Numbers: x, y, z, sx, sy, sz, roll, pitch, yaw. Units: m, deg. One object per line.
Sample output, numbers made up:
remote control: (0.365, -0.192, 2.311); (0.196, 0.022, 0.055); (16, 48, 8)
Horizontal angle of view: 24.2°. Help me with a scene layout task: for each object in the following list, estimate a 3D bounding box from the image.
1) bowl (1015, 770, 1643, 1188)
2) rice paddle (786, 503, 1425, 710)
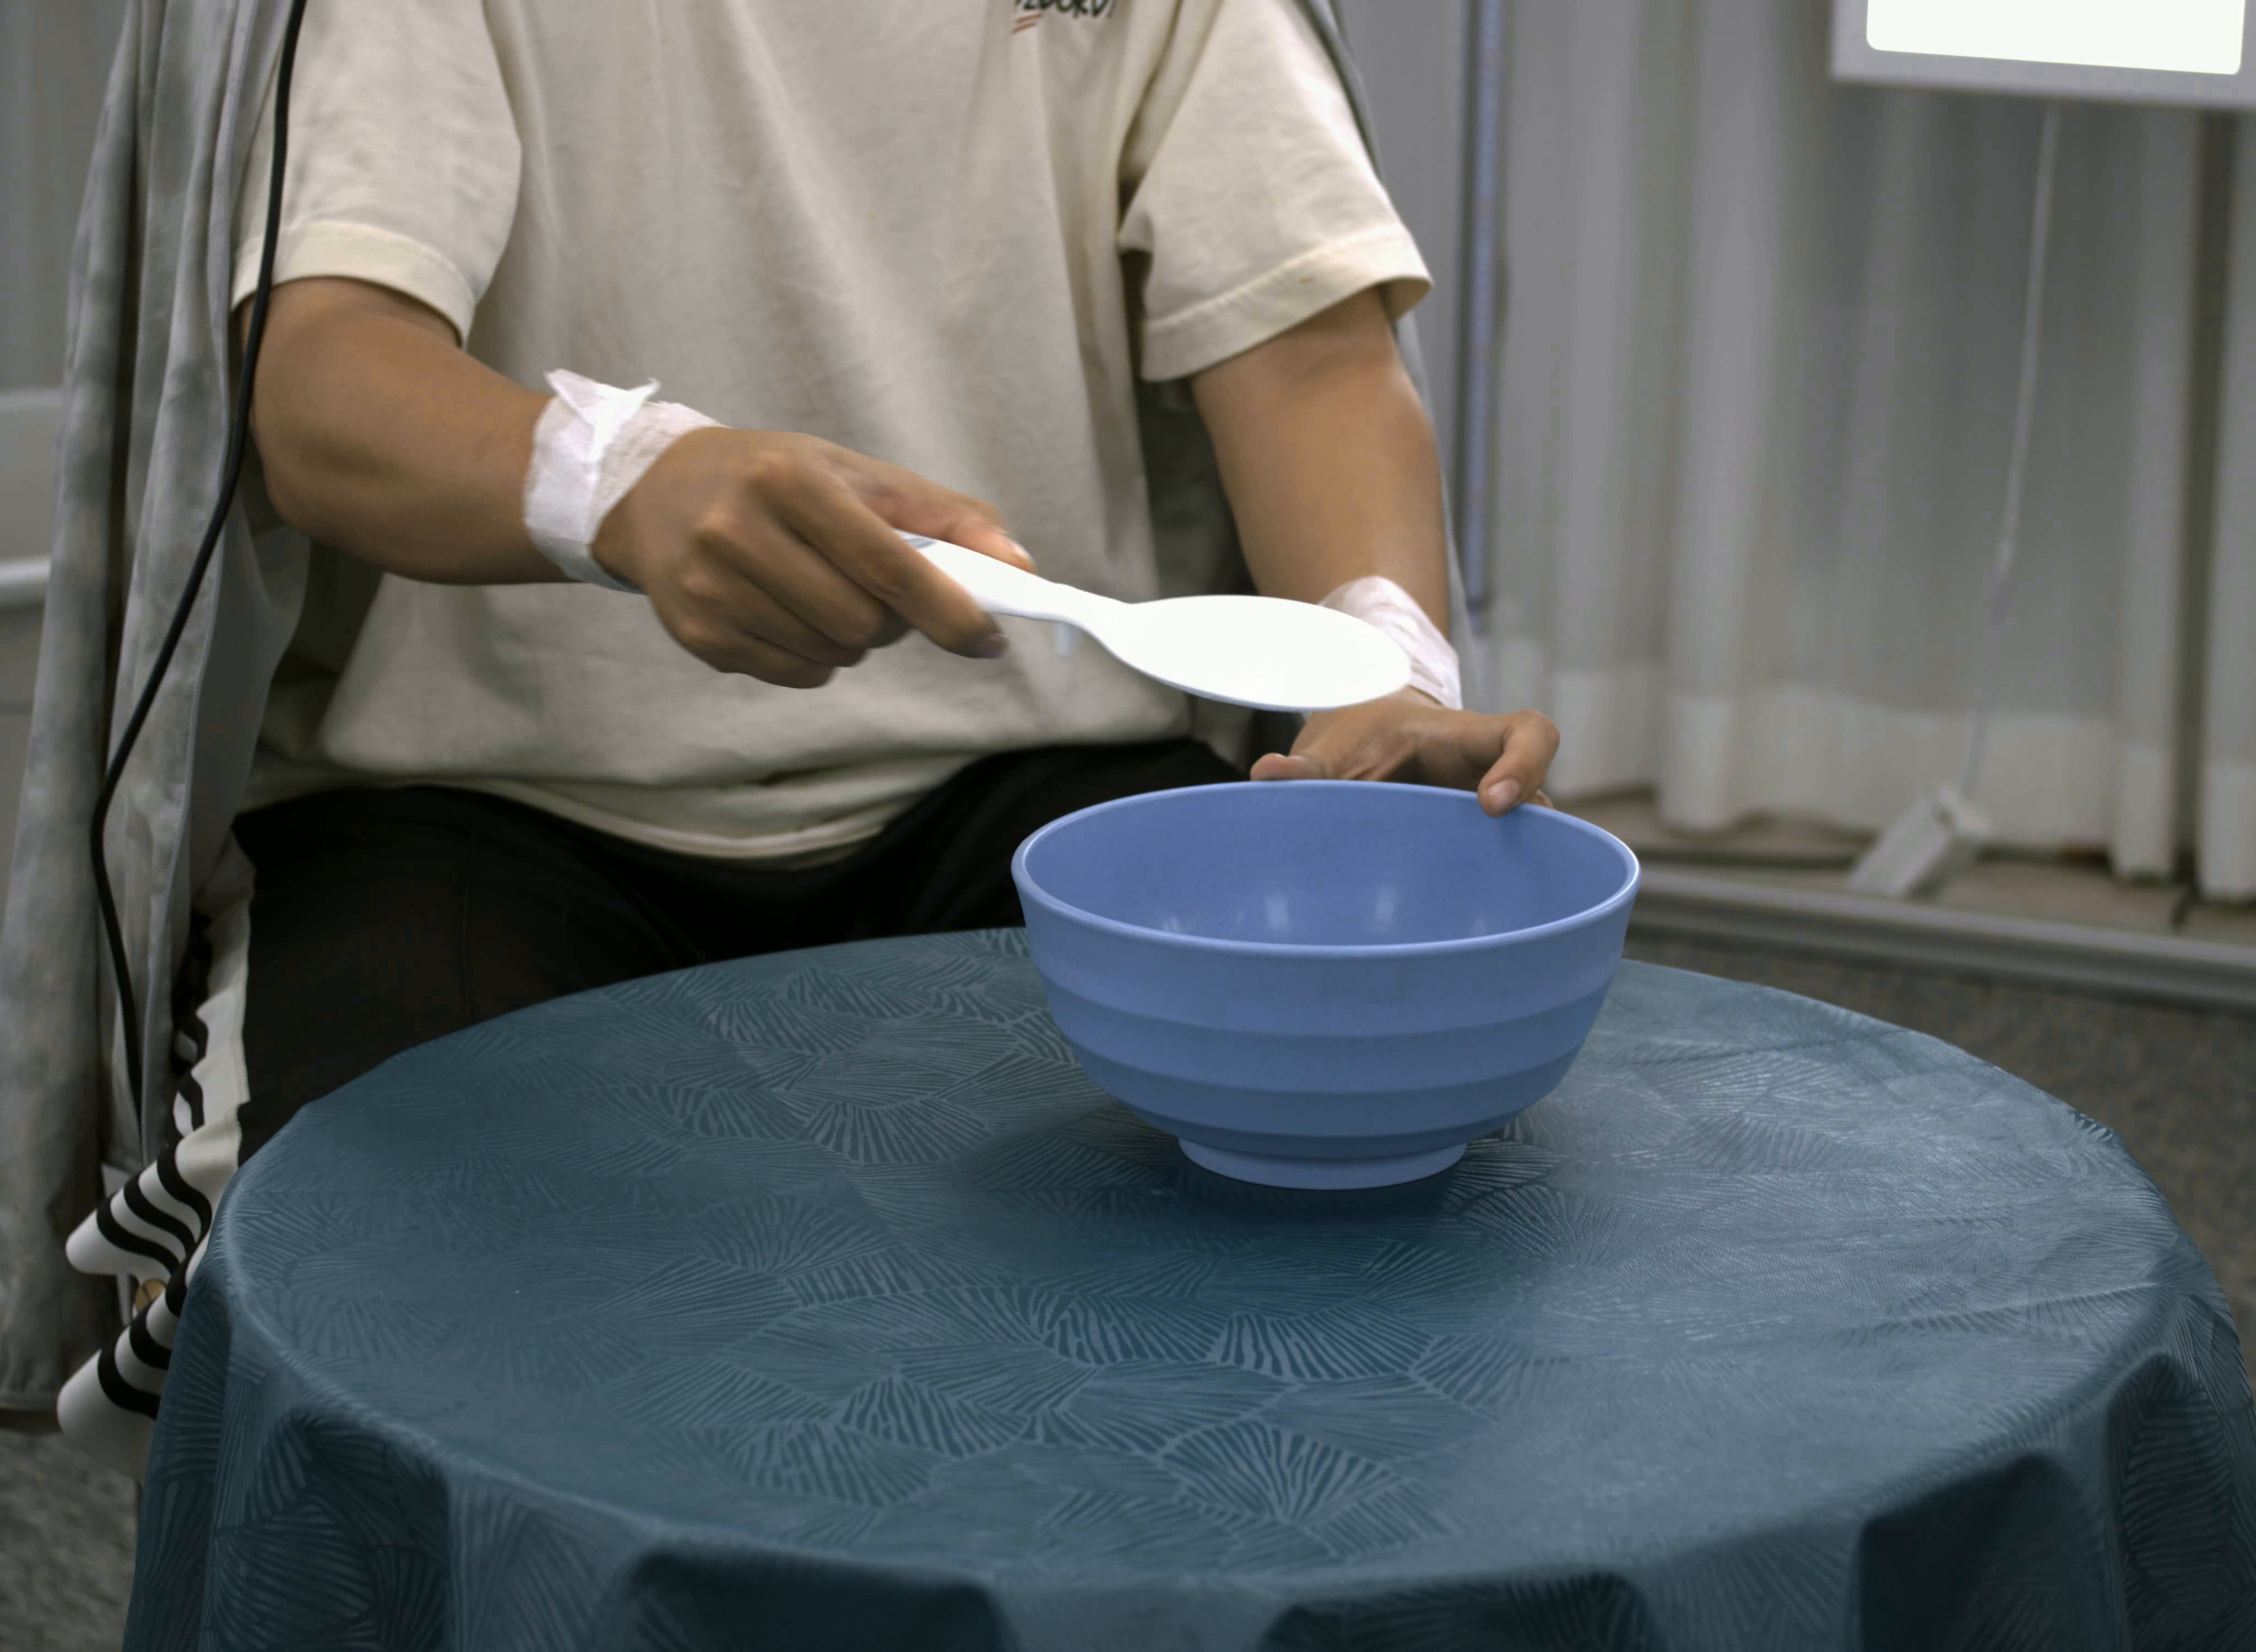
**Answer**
bowl: (0.062, 0.054, 1.657); (0.196, 0.096, 0.195); (1, 17, 0)
rice paddle: (-0.006, -0.066, 1.607); (0.203, 0.030, 0.068); (12, 31, 18)
